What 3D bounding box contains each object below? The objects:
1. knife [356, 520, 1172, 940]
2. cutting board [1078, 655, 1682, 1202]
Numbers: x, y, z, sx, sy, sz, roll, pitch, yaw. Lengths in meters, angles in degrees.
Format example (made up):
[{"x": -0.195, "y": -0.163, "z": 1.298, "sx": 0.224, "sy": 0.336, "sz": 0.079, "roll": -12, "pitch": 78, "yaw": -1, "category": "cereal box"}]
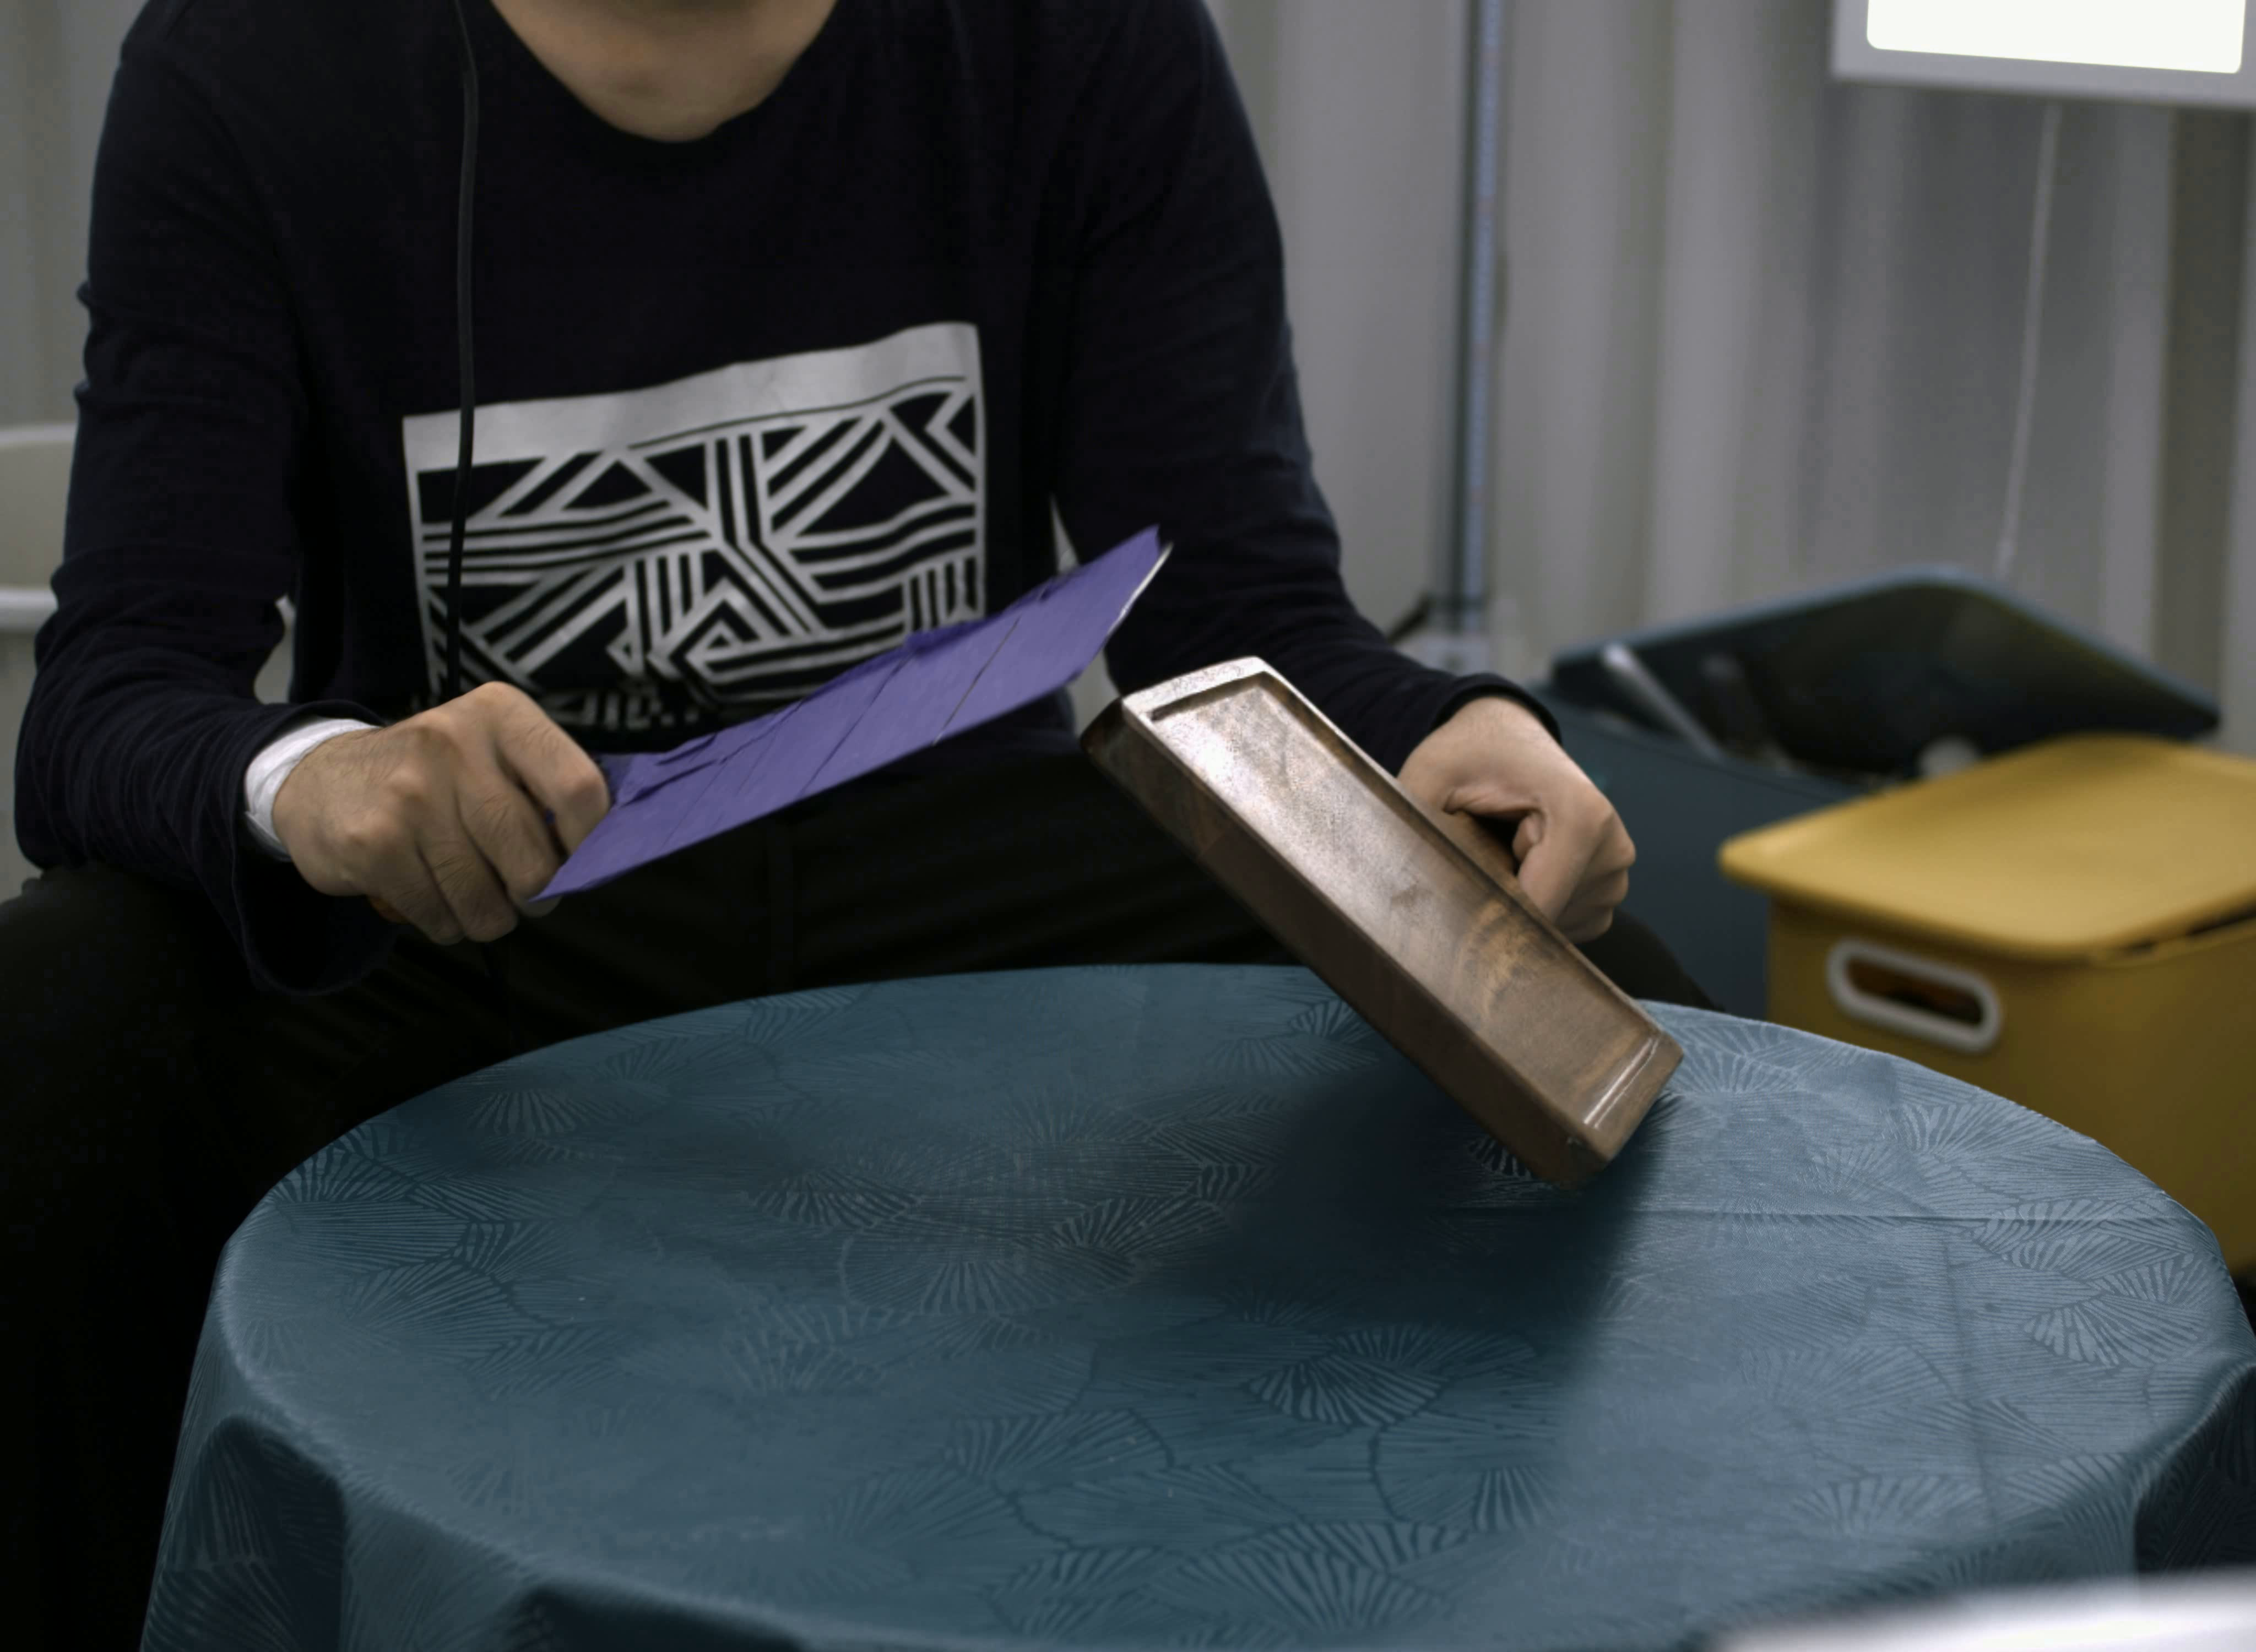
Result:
[{"x": -0.127, "y": -0.016, "z": 1.581, "sx": 0.313, "sy": 0.032, "sz": 0.103, "roll": -24, "pitch": 16, "yaw": 31, "category": "knife"}, {"x": 0.093, "y": 0.022, "z": 1.663, "sx": 0.200, "sy": 0.023, "sz": 0.352, "roll": 43, "pitch": 10, "yaw": 5, "category": "cutting board"}]
